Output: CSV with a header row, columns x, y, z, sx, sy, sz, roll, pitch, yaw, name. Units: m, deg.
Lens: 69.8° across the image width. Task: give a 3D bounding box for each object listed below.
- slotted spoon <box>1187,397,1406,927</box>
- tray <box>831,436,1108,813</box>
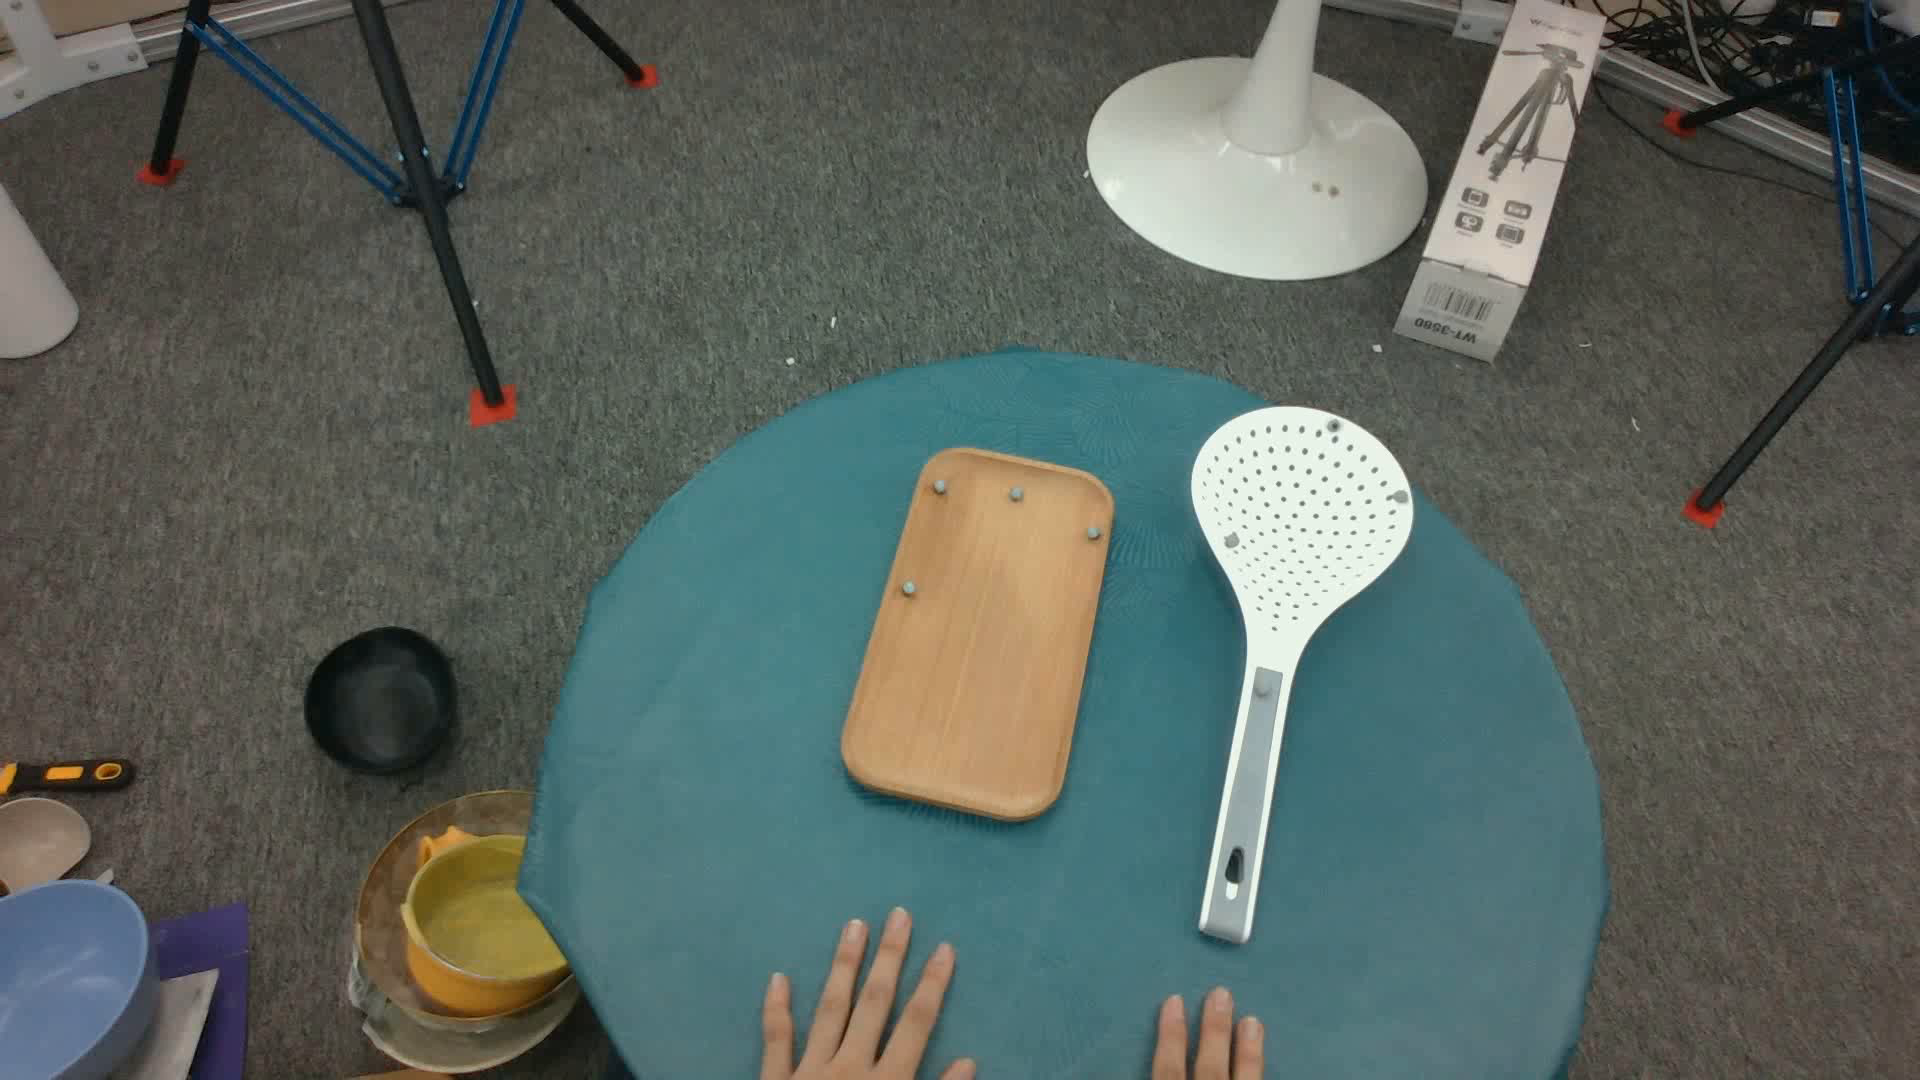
x,y,z,sx,sy,sz,roll,pitch,yaw,name
0.180,0.057,0.810,0.136,0.045,0.351,14,55,8,slotted spoon
0.011,0.042,0.824,0.130,0.023,0.252,11,55,6,tray
